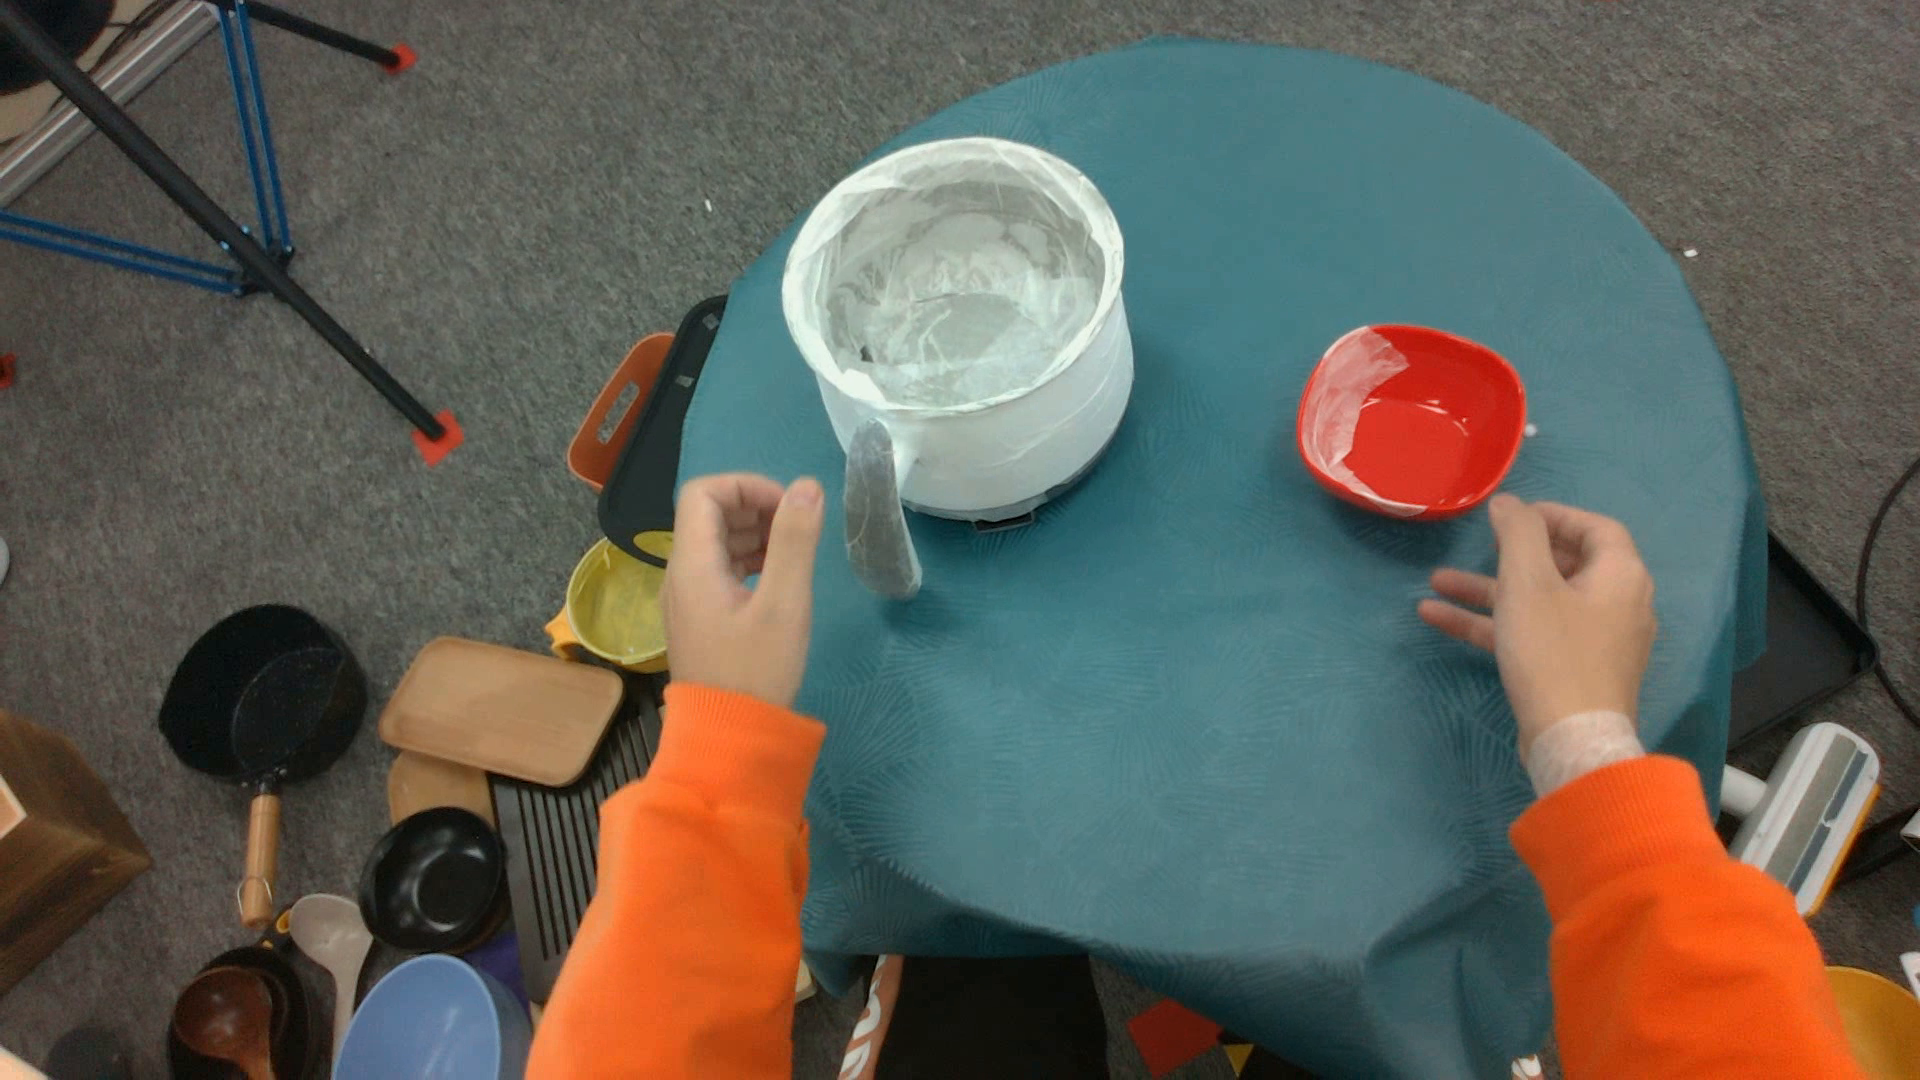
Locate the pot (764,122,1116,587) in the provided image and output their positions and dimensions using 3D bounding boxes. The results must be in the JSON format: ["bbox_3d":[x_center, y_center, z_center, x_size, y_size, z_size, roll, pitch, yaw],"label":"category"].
[{"bbox_3d":[-0.014,-0.095,0.747,0.178,0.136,0.234,14,66,17],"label":"pot"}]

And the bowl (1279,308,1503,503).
[{"bbox_3d":[0.228,-0.064,0.739,0.119,0.051,0.119,-3,62,6],"label":"bowl"}]
